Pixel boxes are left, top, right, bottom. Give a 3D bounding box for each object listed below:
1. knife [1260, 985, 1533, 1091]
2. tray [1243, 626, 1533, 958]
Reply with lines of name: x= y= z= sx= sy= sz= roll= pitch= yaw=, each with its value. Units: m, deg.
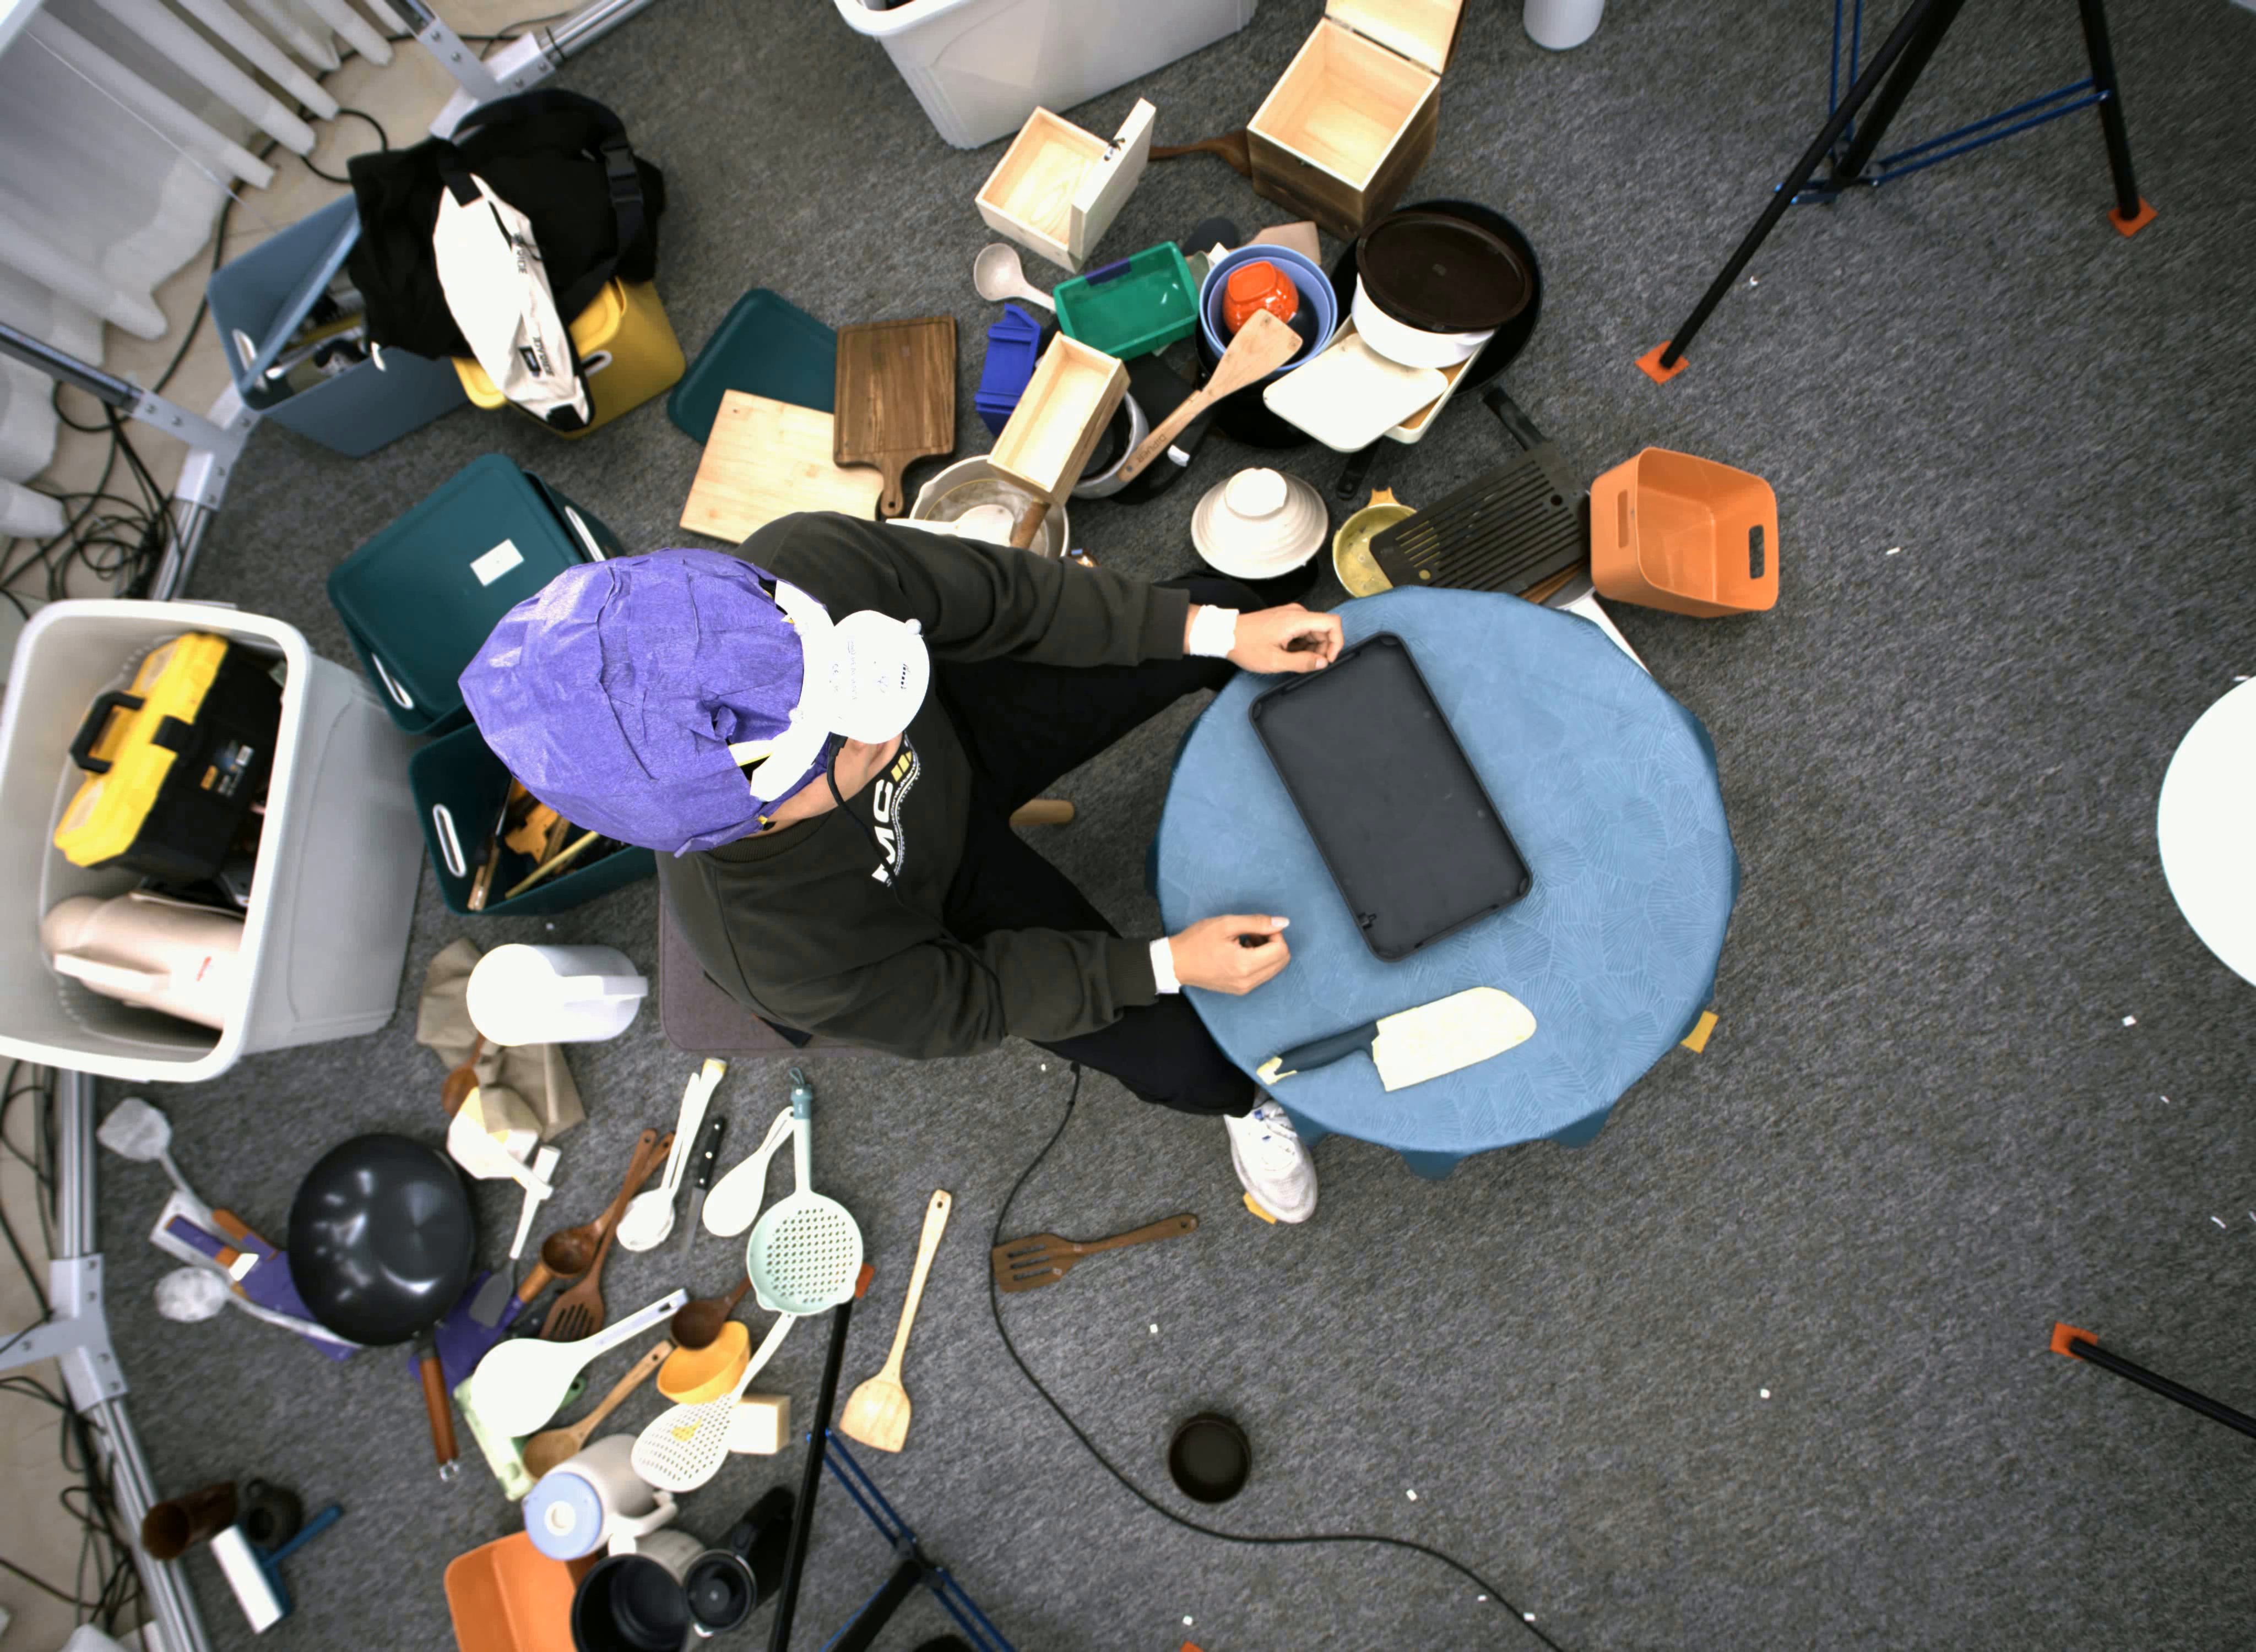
knife: x=0.281 y=0.231 z=1.442 sx=0.291 sy=0.027 sz=0.080 roll=-17 pitch=82 yaw=8
tray: x=0.271 y=-0.037 z=1.448 sx=0.185 sy=0.037 sz=0.316 roll=-29 pitch=82 yaw=8
